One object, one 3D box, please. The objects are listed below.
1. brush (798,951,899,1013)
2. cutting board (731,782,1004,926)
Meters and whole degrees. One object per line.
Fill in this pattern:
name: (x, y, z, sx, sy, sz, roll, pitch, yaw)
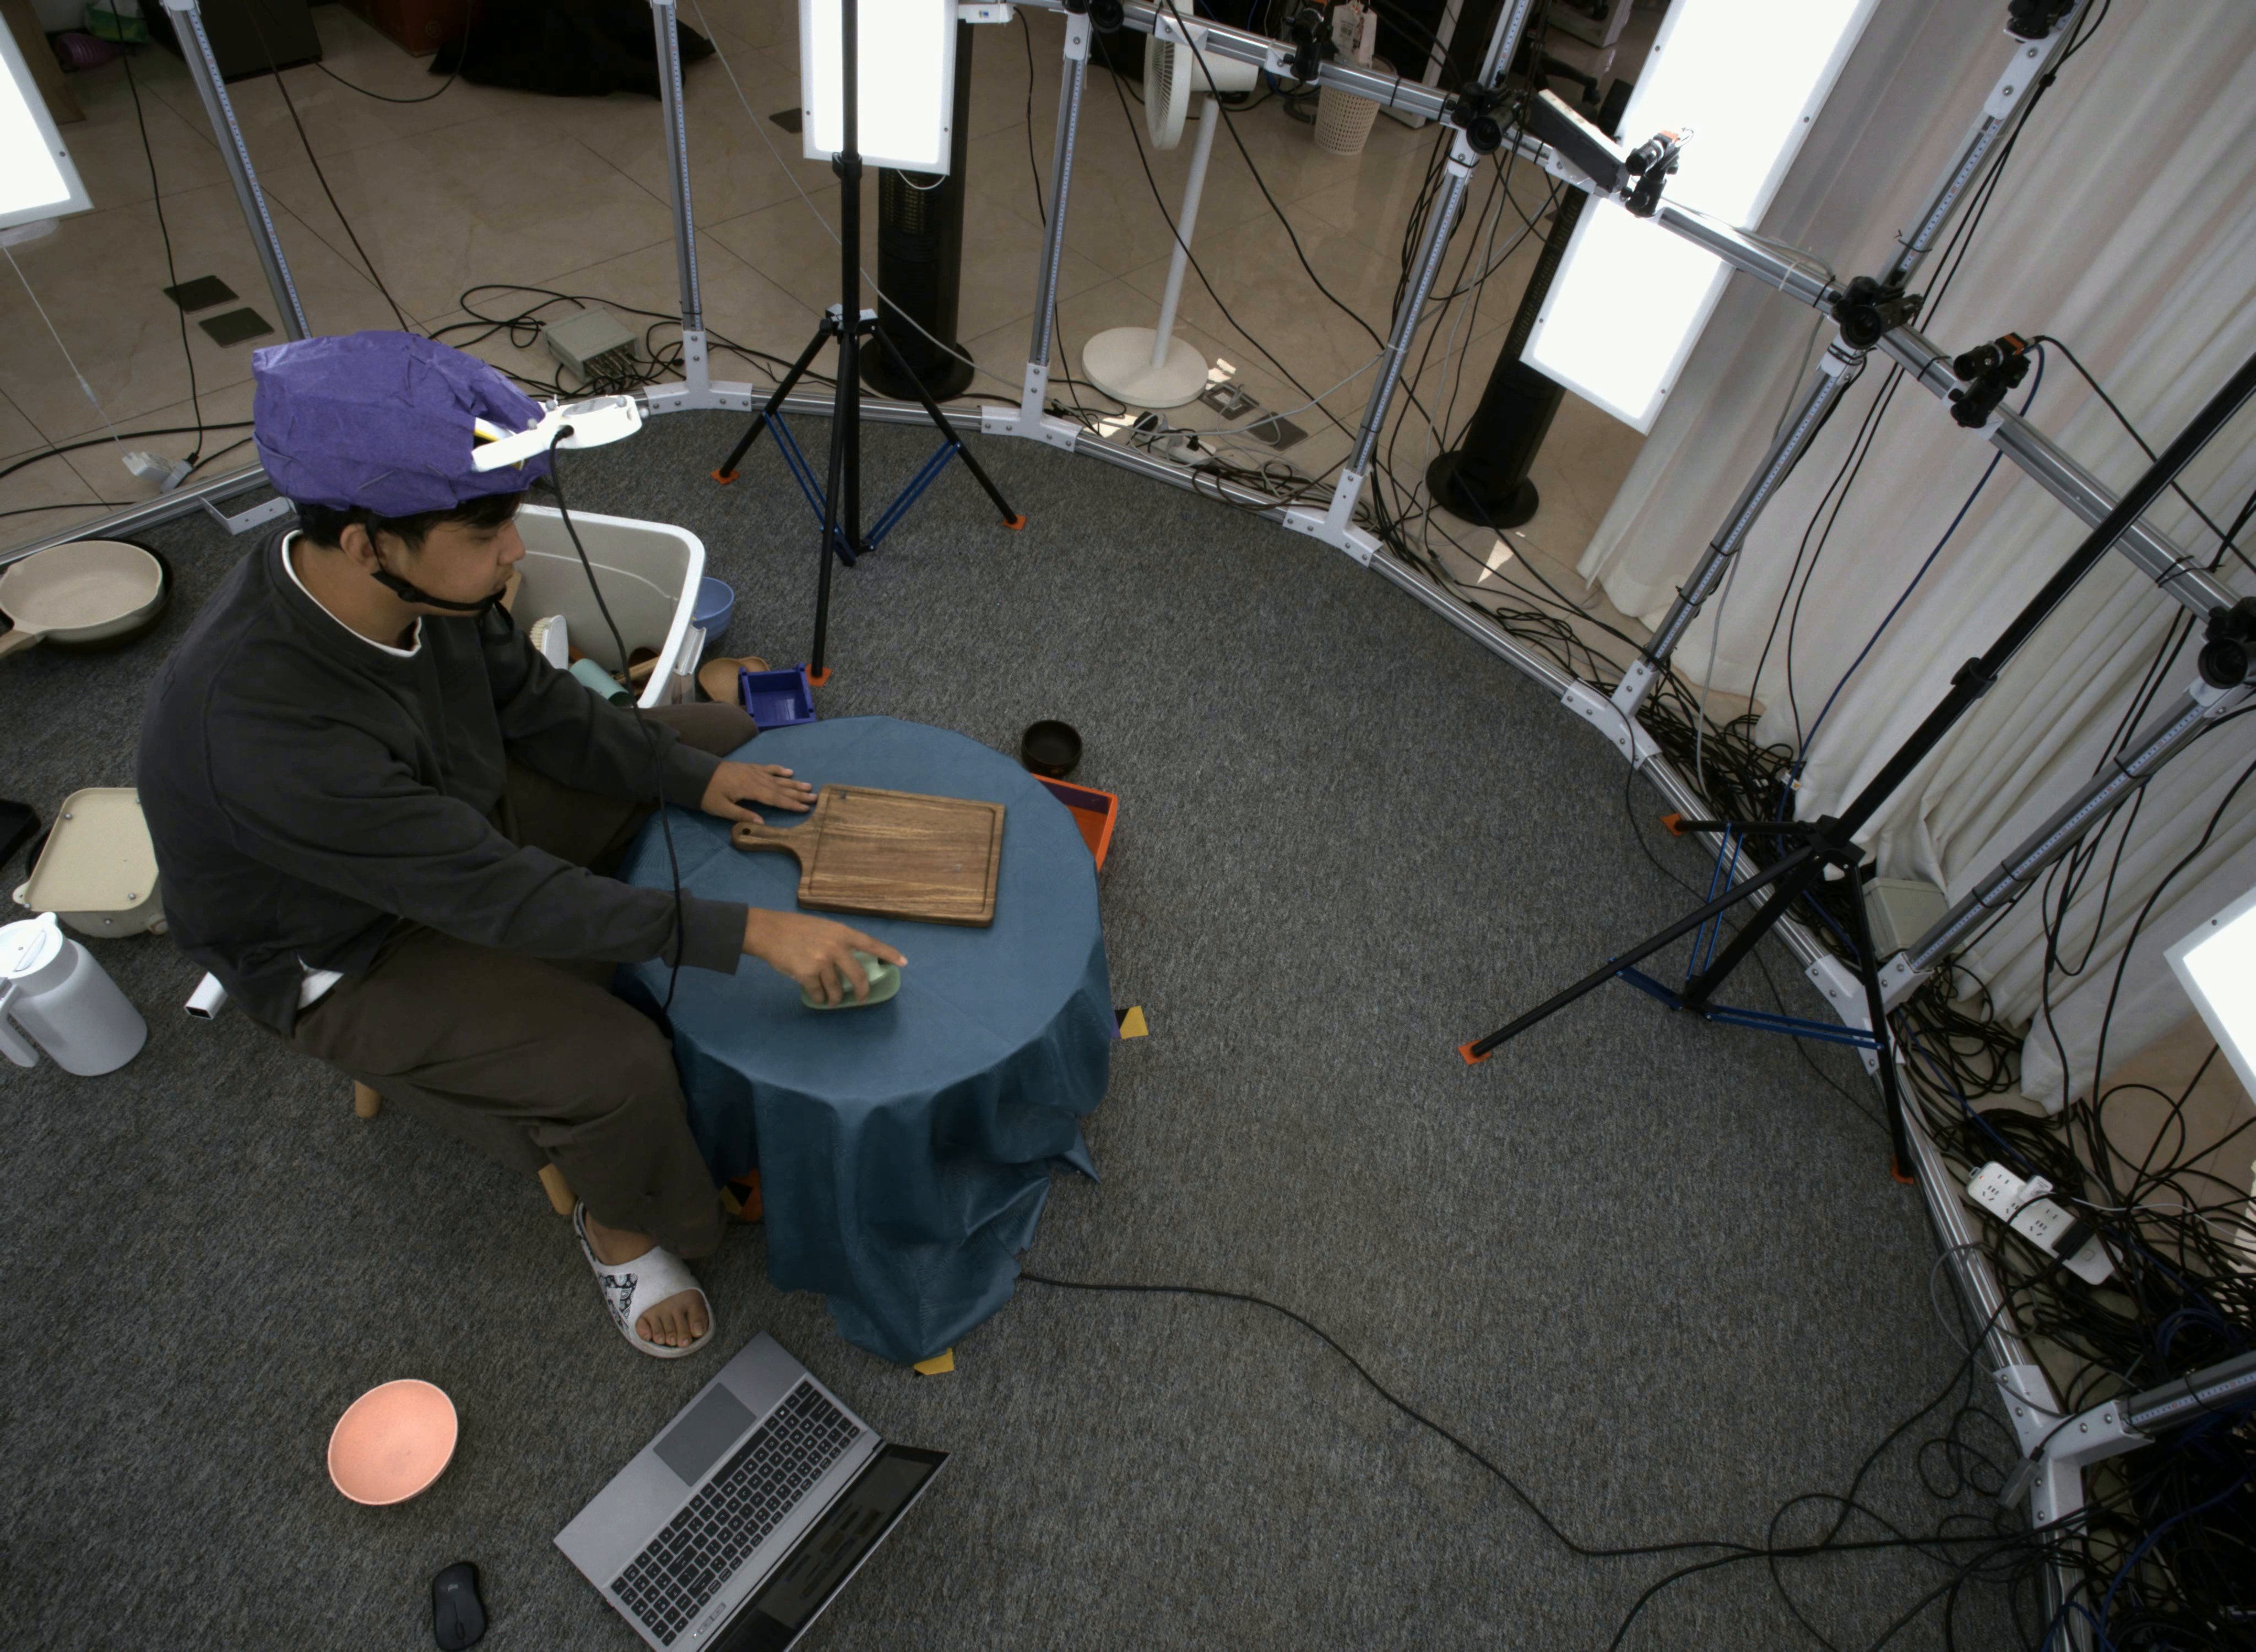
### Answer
brush: (-0.332, 0.185, 1.549, 0.121, 0.078, 0.058, -11, 57, 3)
cutting board: (-0.343, 0.028, 1.706, 0.351, 0.023, 0.197, 7, 52, -9)
